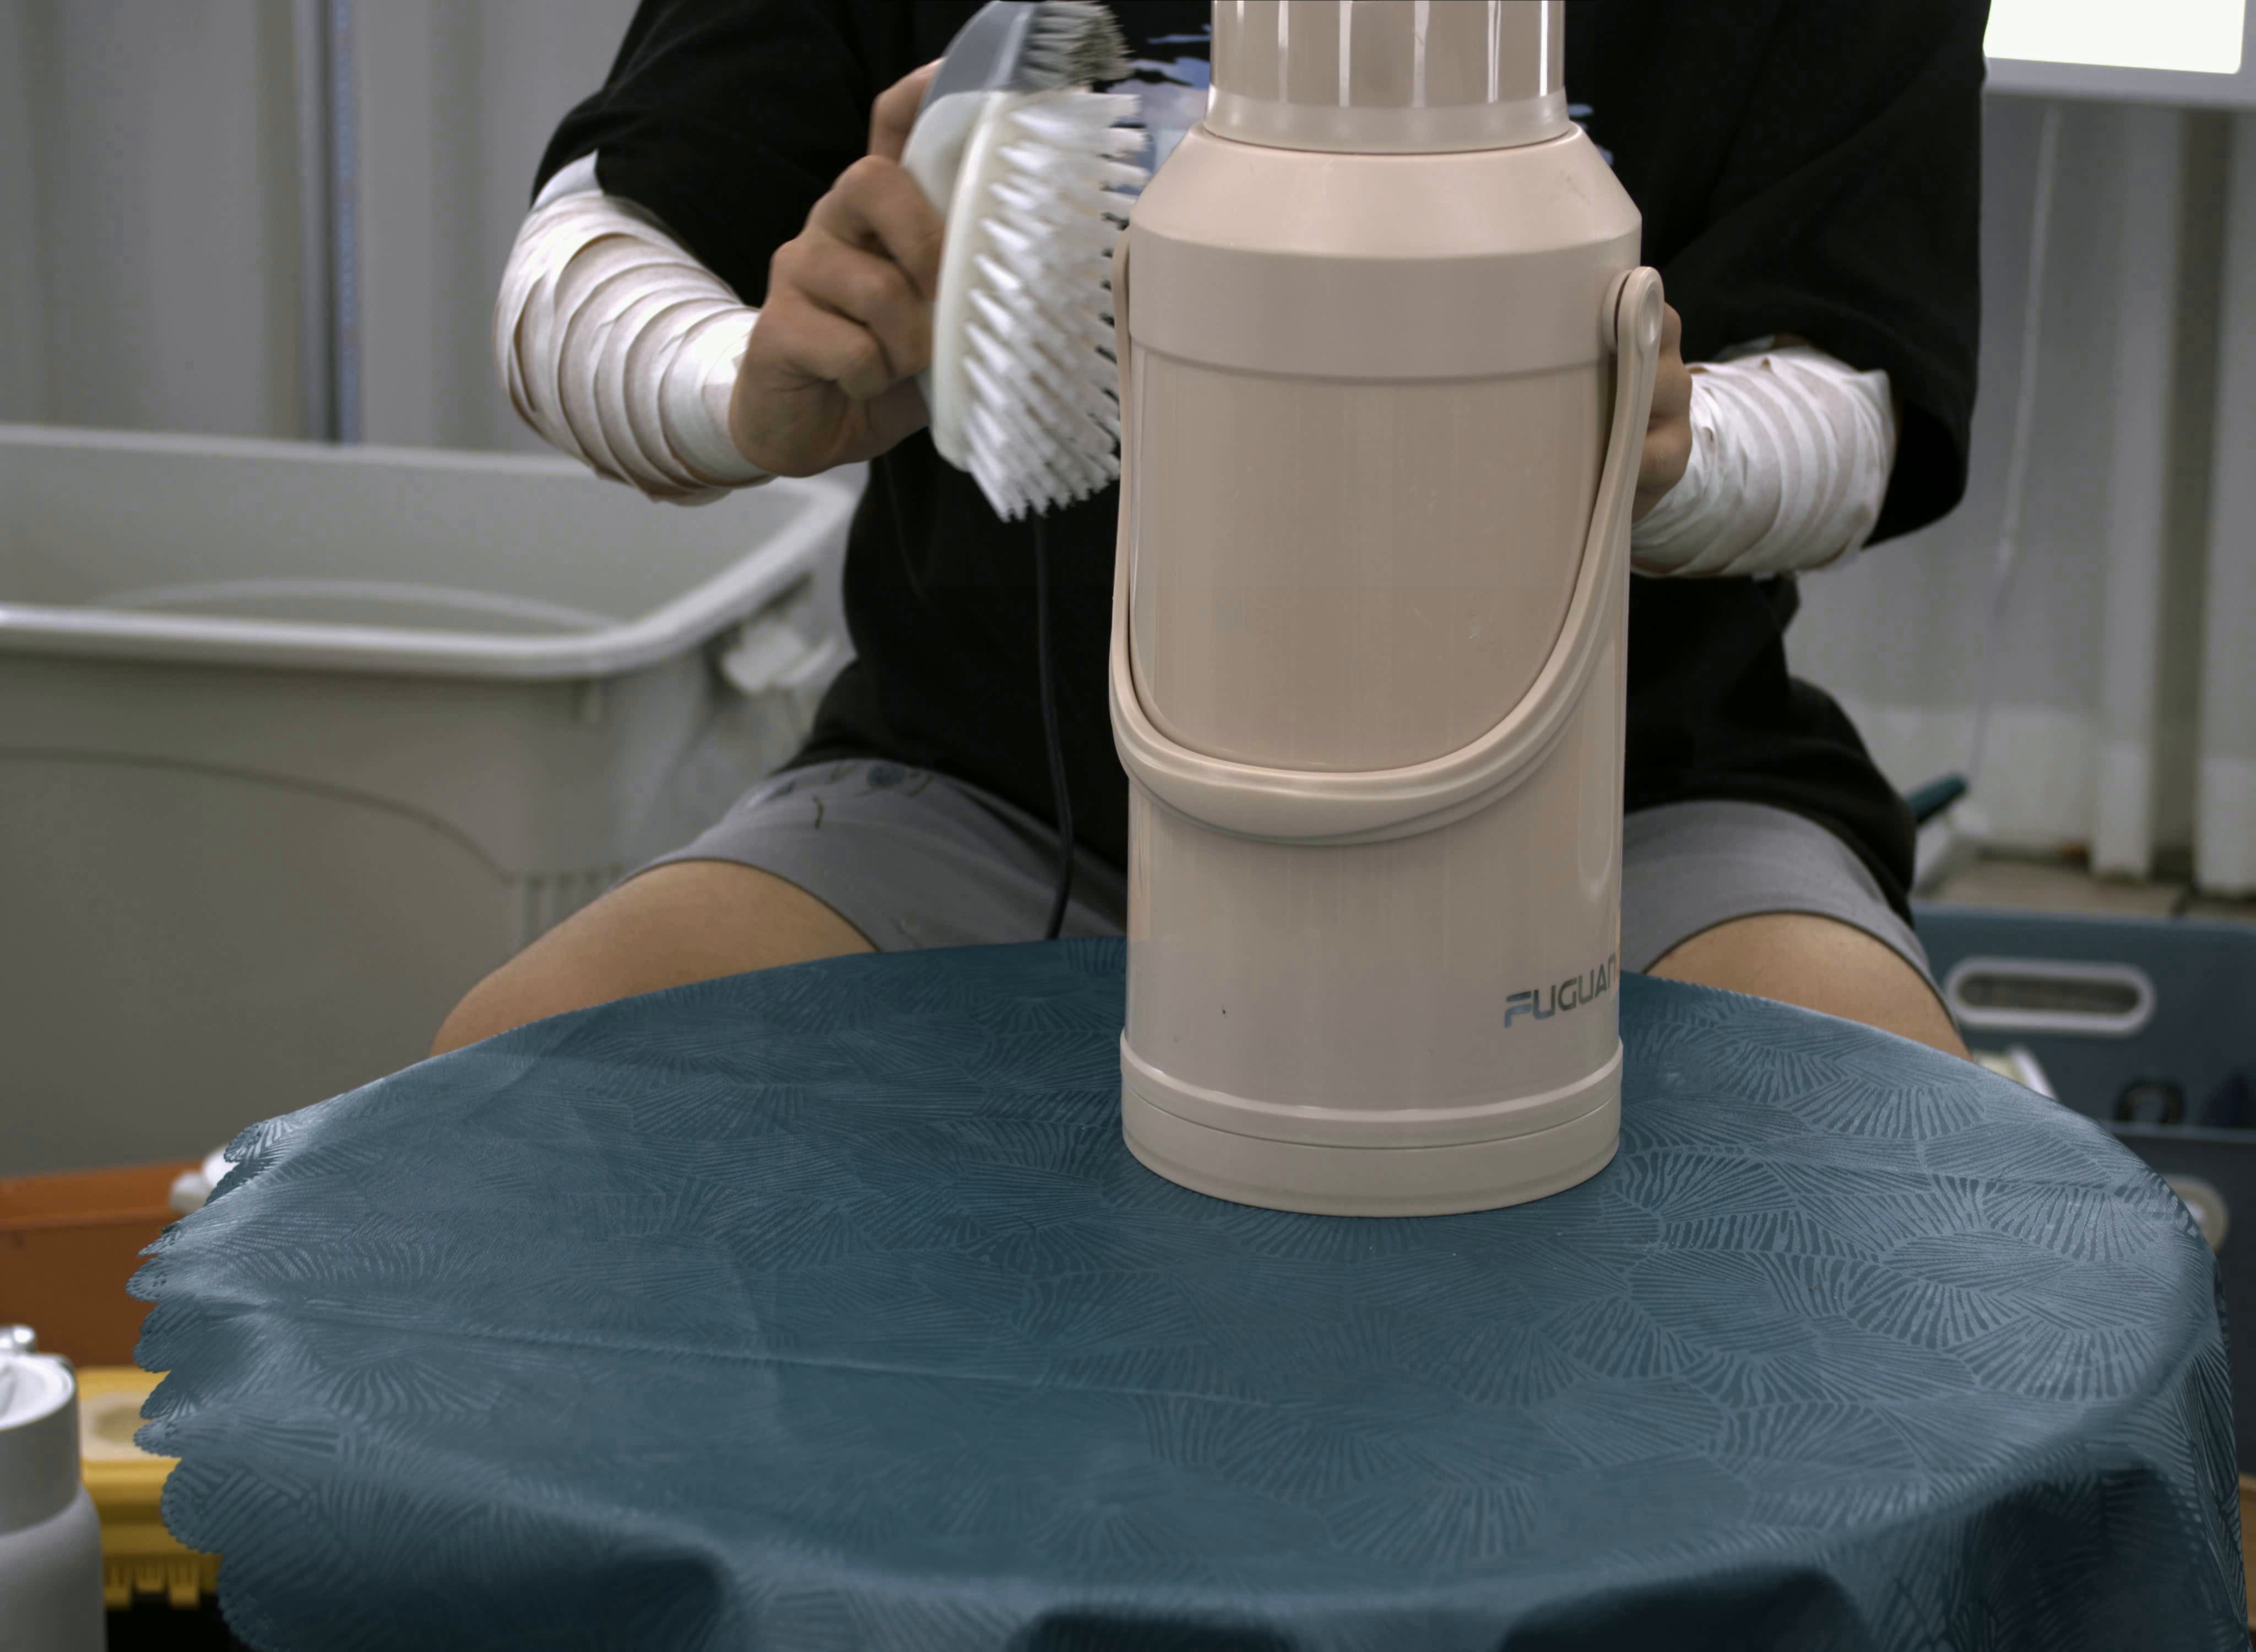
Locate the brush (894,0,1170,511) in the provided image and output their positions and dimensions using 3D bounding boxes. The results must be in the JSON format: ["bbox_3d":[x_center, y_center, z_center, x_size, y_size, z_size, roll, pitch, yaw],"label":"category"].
[{"bbox_3d":[-0.034,-0.197,1.673,0.061,0.177,0.093,-25,47,-36],"label":"brush"}]

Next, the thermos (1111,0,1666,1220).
[{"bbox_3d":[0.086,-0.095,1.633,0.173,0.409,0.207,7,17,25],"label":"thermos"}]
